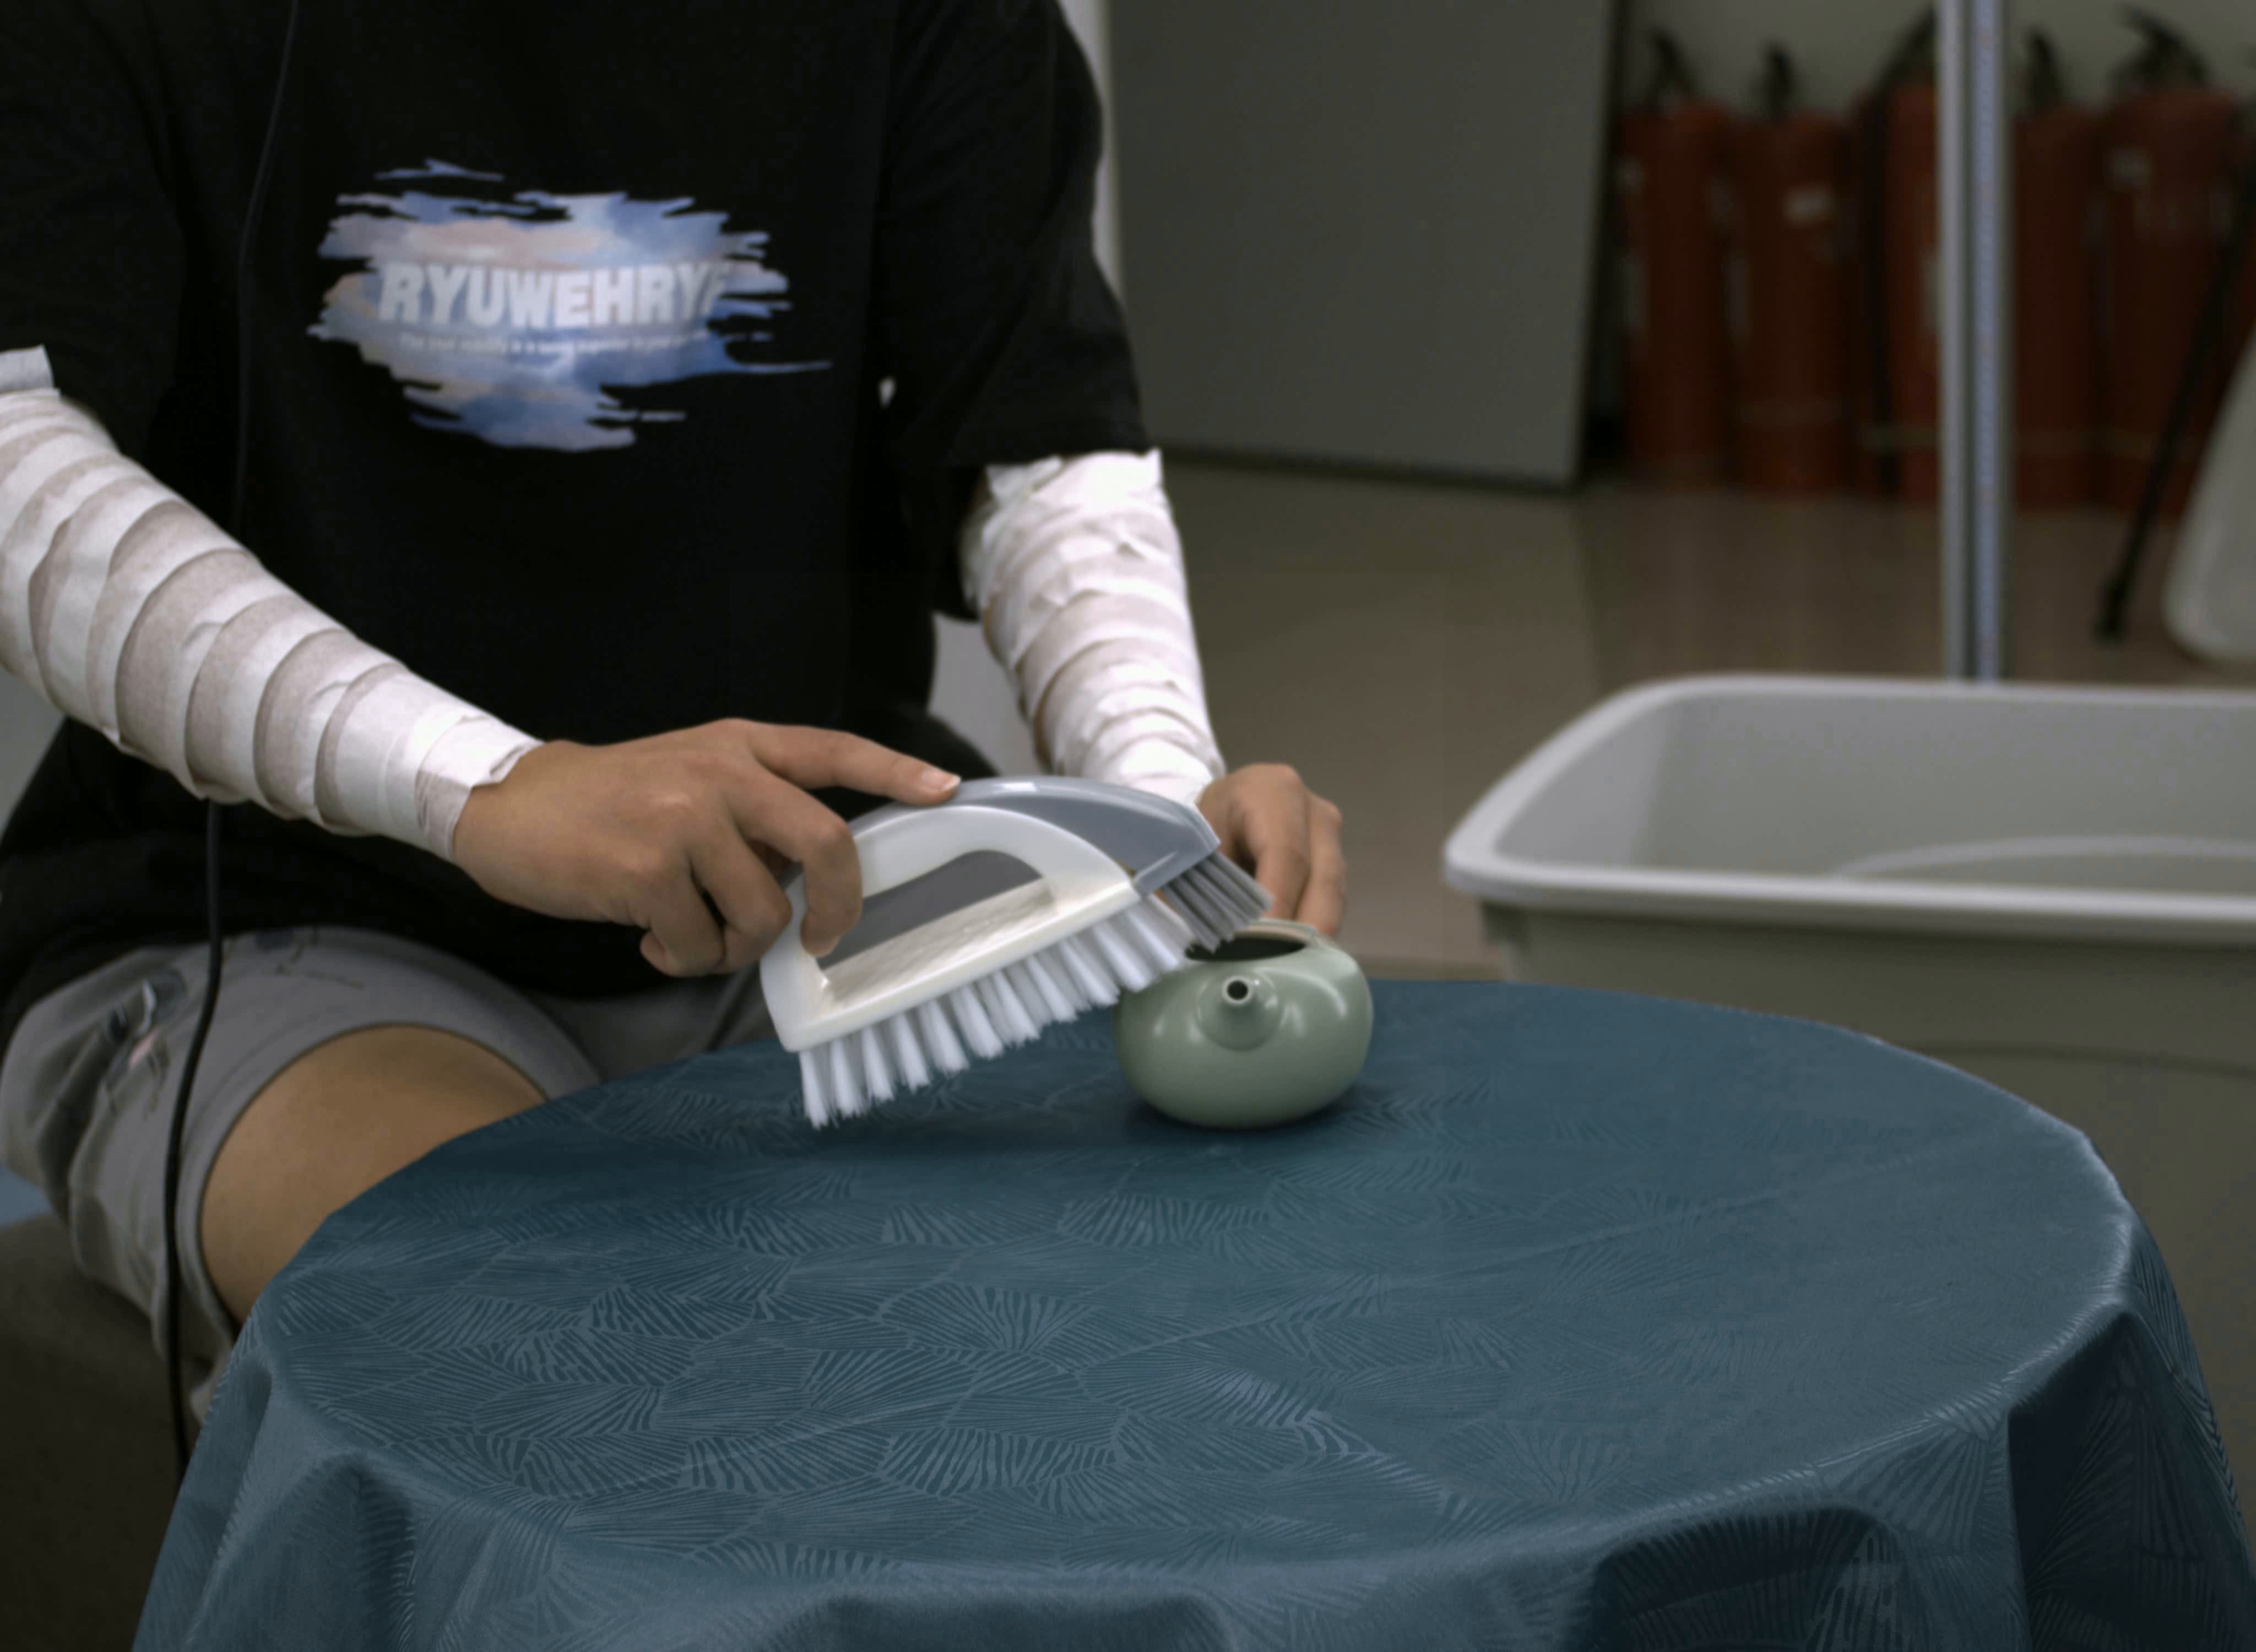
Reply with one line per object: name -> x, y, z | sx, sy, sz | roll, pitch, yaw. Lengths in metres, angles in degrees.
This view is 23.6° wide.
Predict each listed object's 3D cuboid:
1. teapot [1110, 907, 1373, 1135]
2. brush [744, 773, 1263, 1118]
teapot -> 0.040, 0.067, 1.858 | 0.091, 0.061, 0.128 | -4, 13, 8
brush -> -0.048, 0.026, 1.827 | 0.175, 0.094, 0.061 | -21, 18, 16
